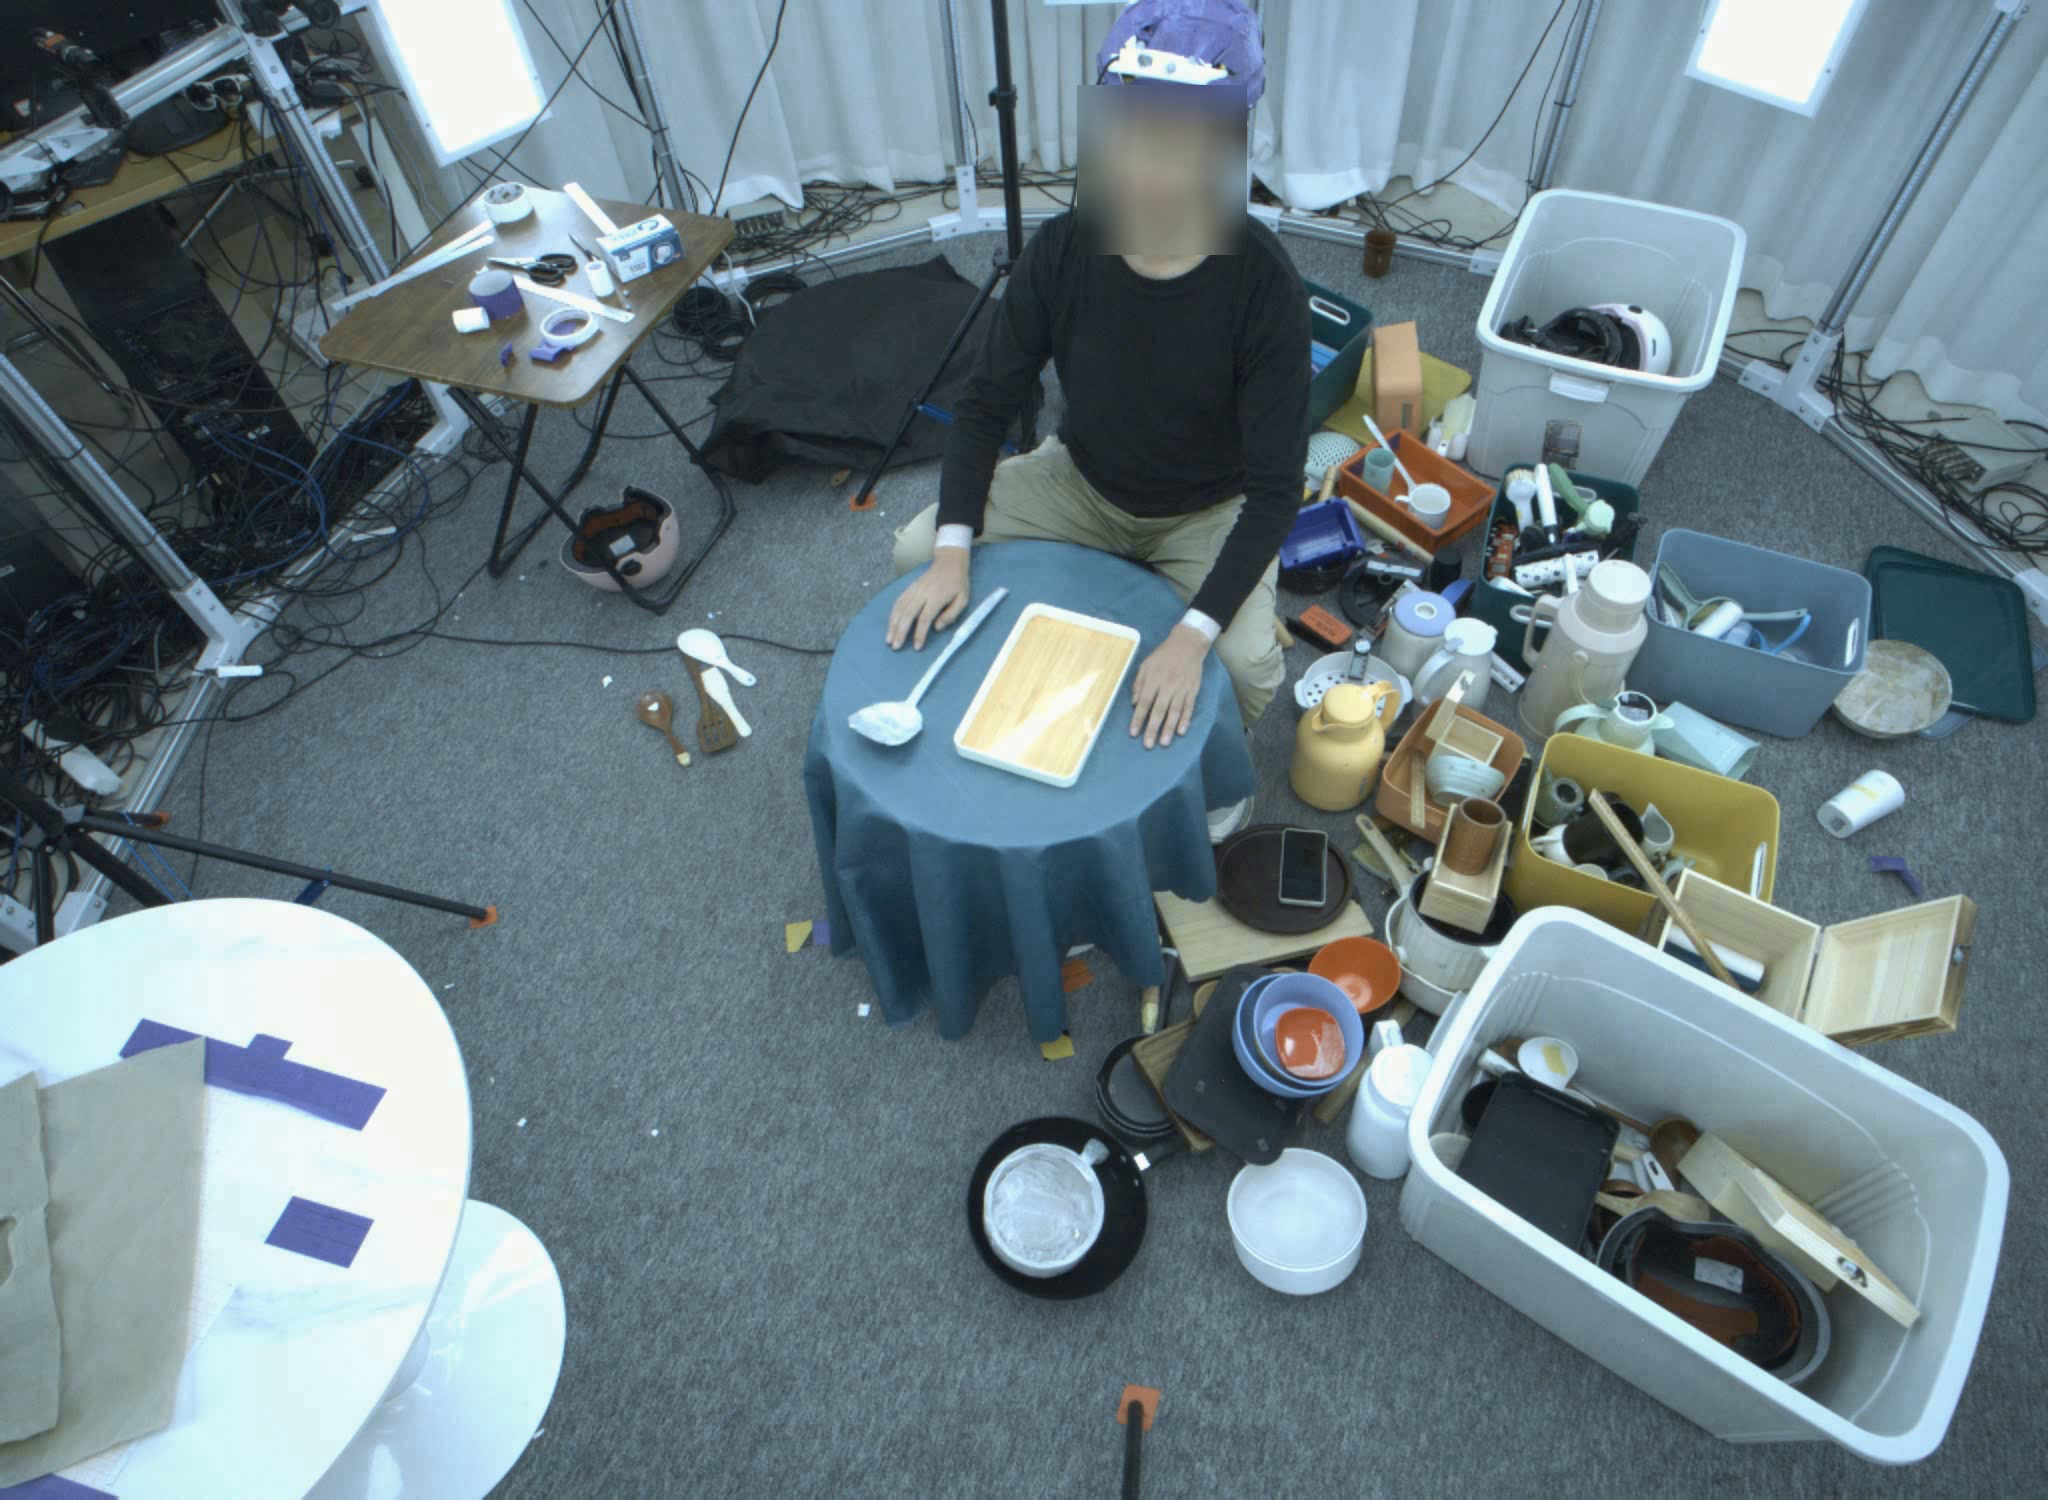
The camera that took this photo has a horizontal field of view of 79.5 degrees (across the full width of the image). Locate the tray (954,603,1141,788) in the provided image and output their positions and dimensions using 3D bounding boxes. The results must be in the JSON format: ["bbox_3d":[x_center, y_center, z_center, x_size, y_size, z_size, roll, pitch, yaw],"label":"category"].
[{"bbox_3d":[0.039,-0.088,1.832,0.189,0.028,0.300,18,57,14],"label":"tray"}]

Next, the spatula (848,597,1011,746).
[{"bbox_3d":[-0.128,-0.133,1.863,0.097,0.045,0.366,25,60,19],"label":"spatula"}]
